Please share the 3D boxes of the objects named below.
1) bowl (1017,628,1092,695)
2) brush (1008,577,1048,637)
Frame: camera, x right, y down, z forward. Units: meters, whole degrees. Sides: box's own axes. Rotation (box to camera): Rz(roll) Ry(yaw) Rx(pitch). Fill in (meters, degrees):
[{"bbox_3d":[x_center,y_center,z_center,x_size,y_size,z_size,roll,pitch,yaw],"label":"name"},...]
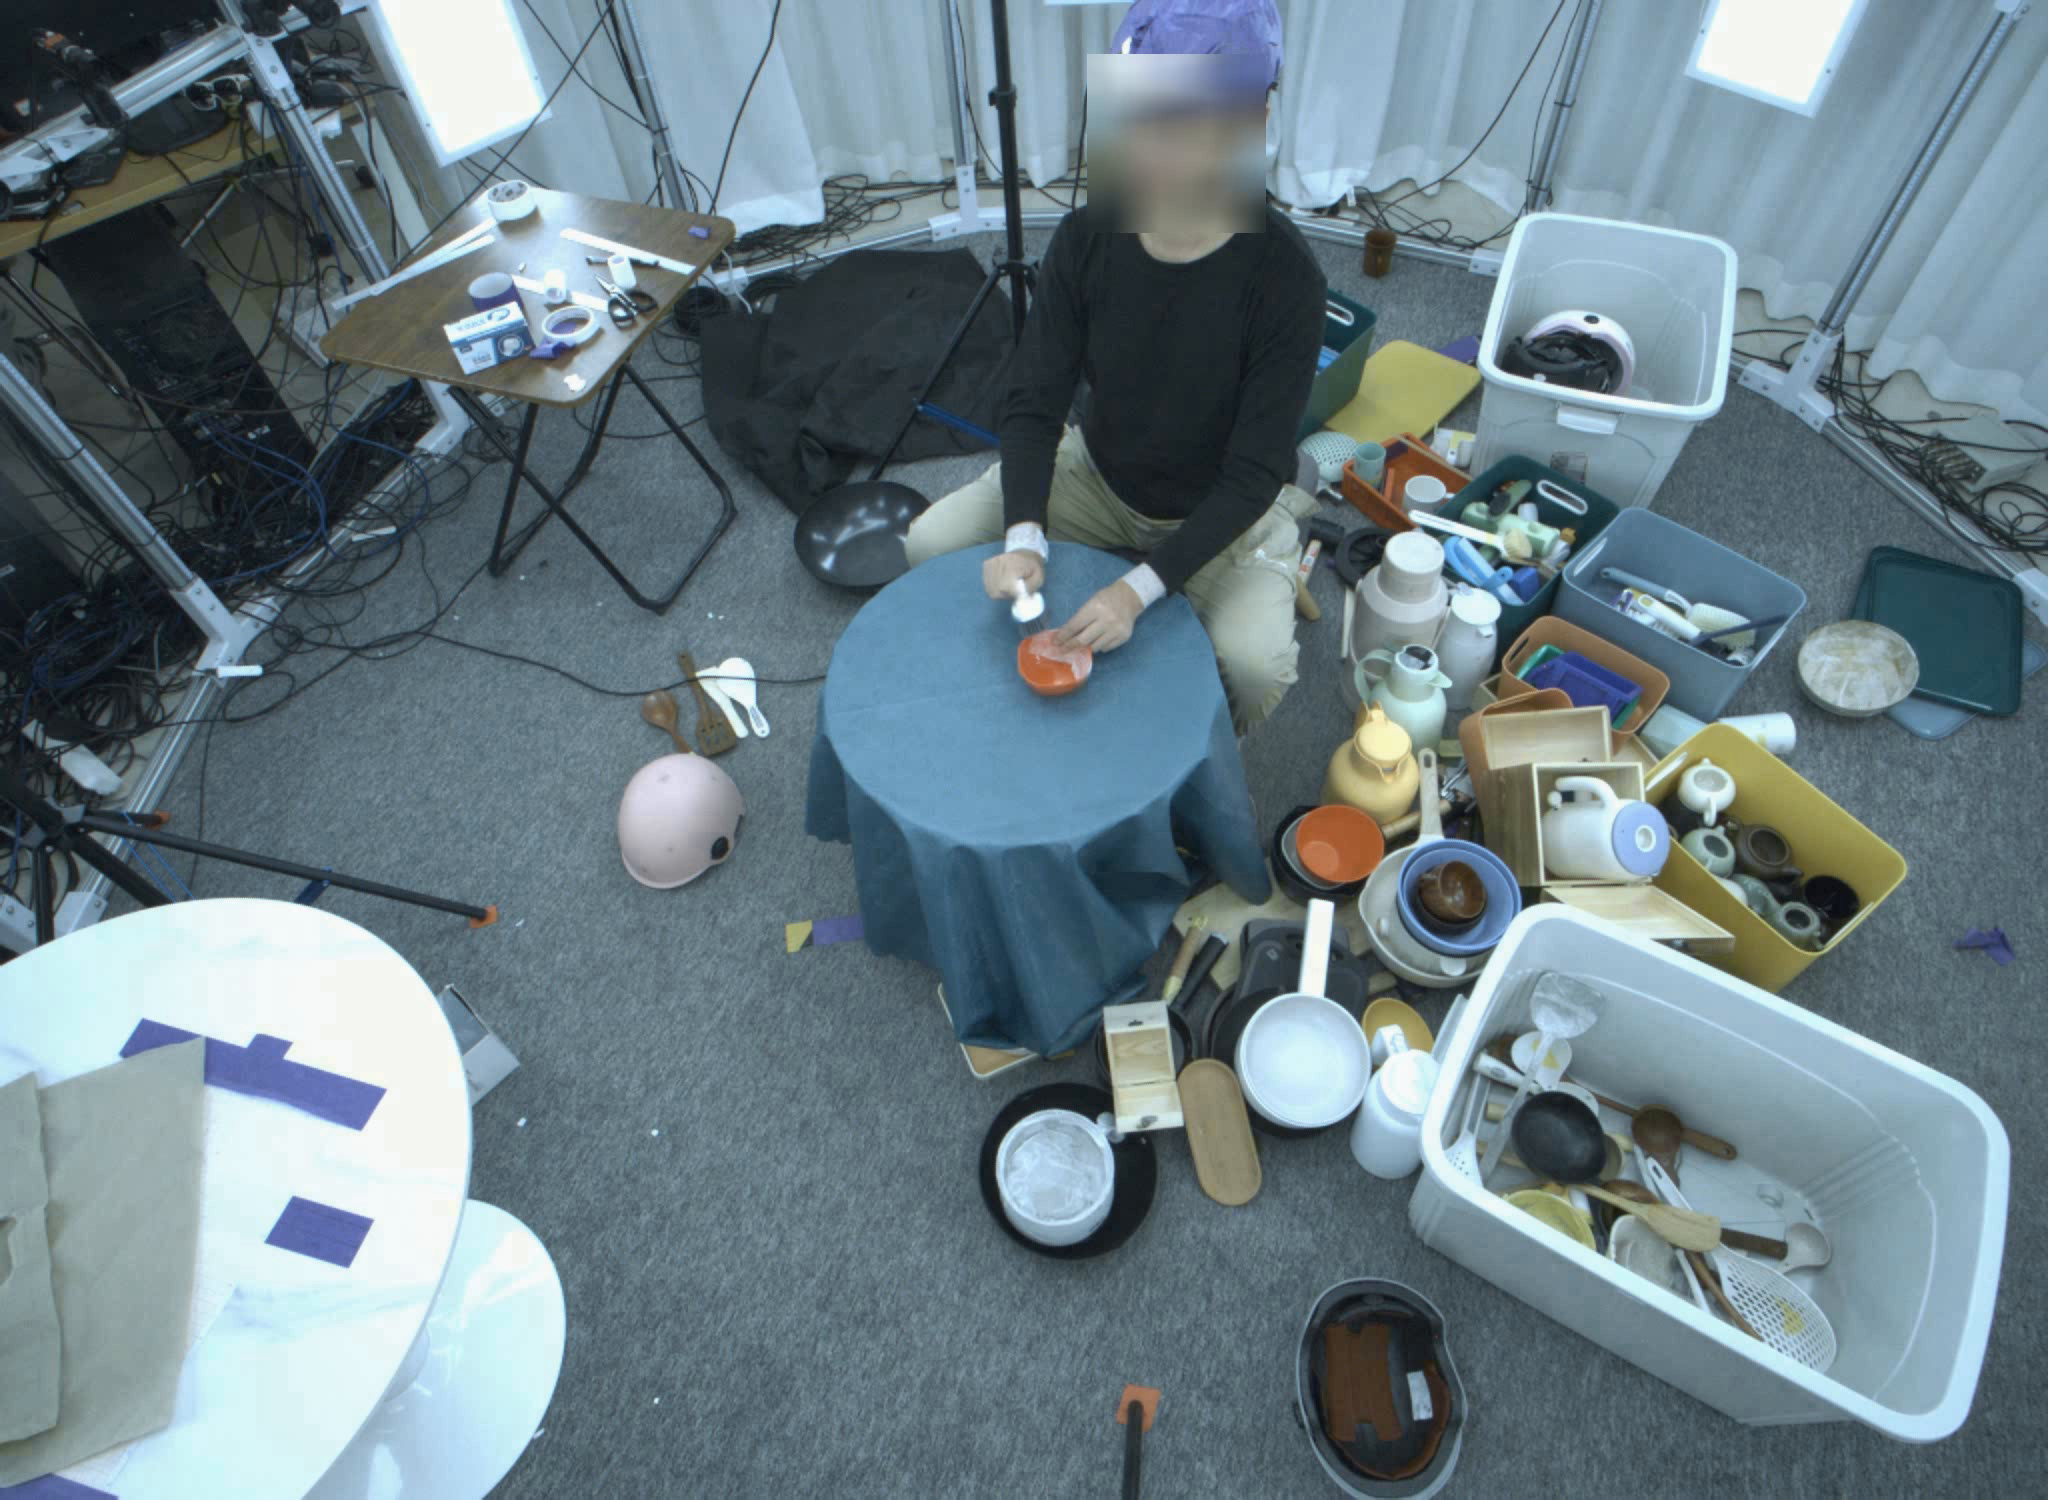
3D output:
[{"bbox_3d":[0.046,-0.125,1.843,0.119,0.052,0.118,-1,56,2],"label":"bowl"},{"bbox_3d":[-0.001,-0.220,1.838,0.050,0.073,0.098,-22,25,12],"label":"brush"}]
